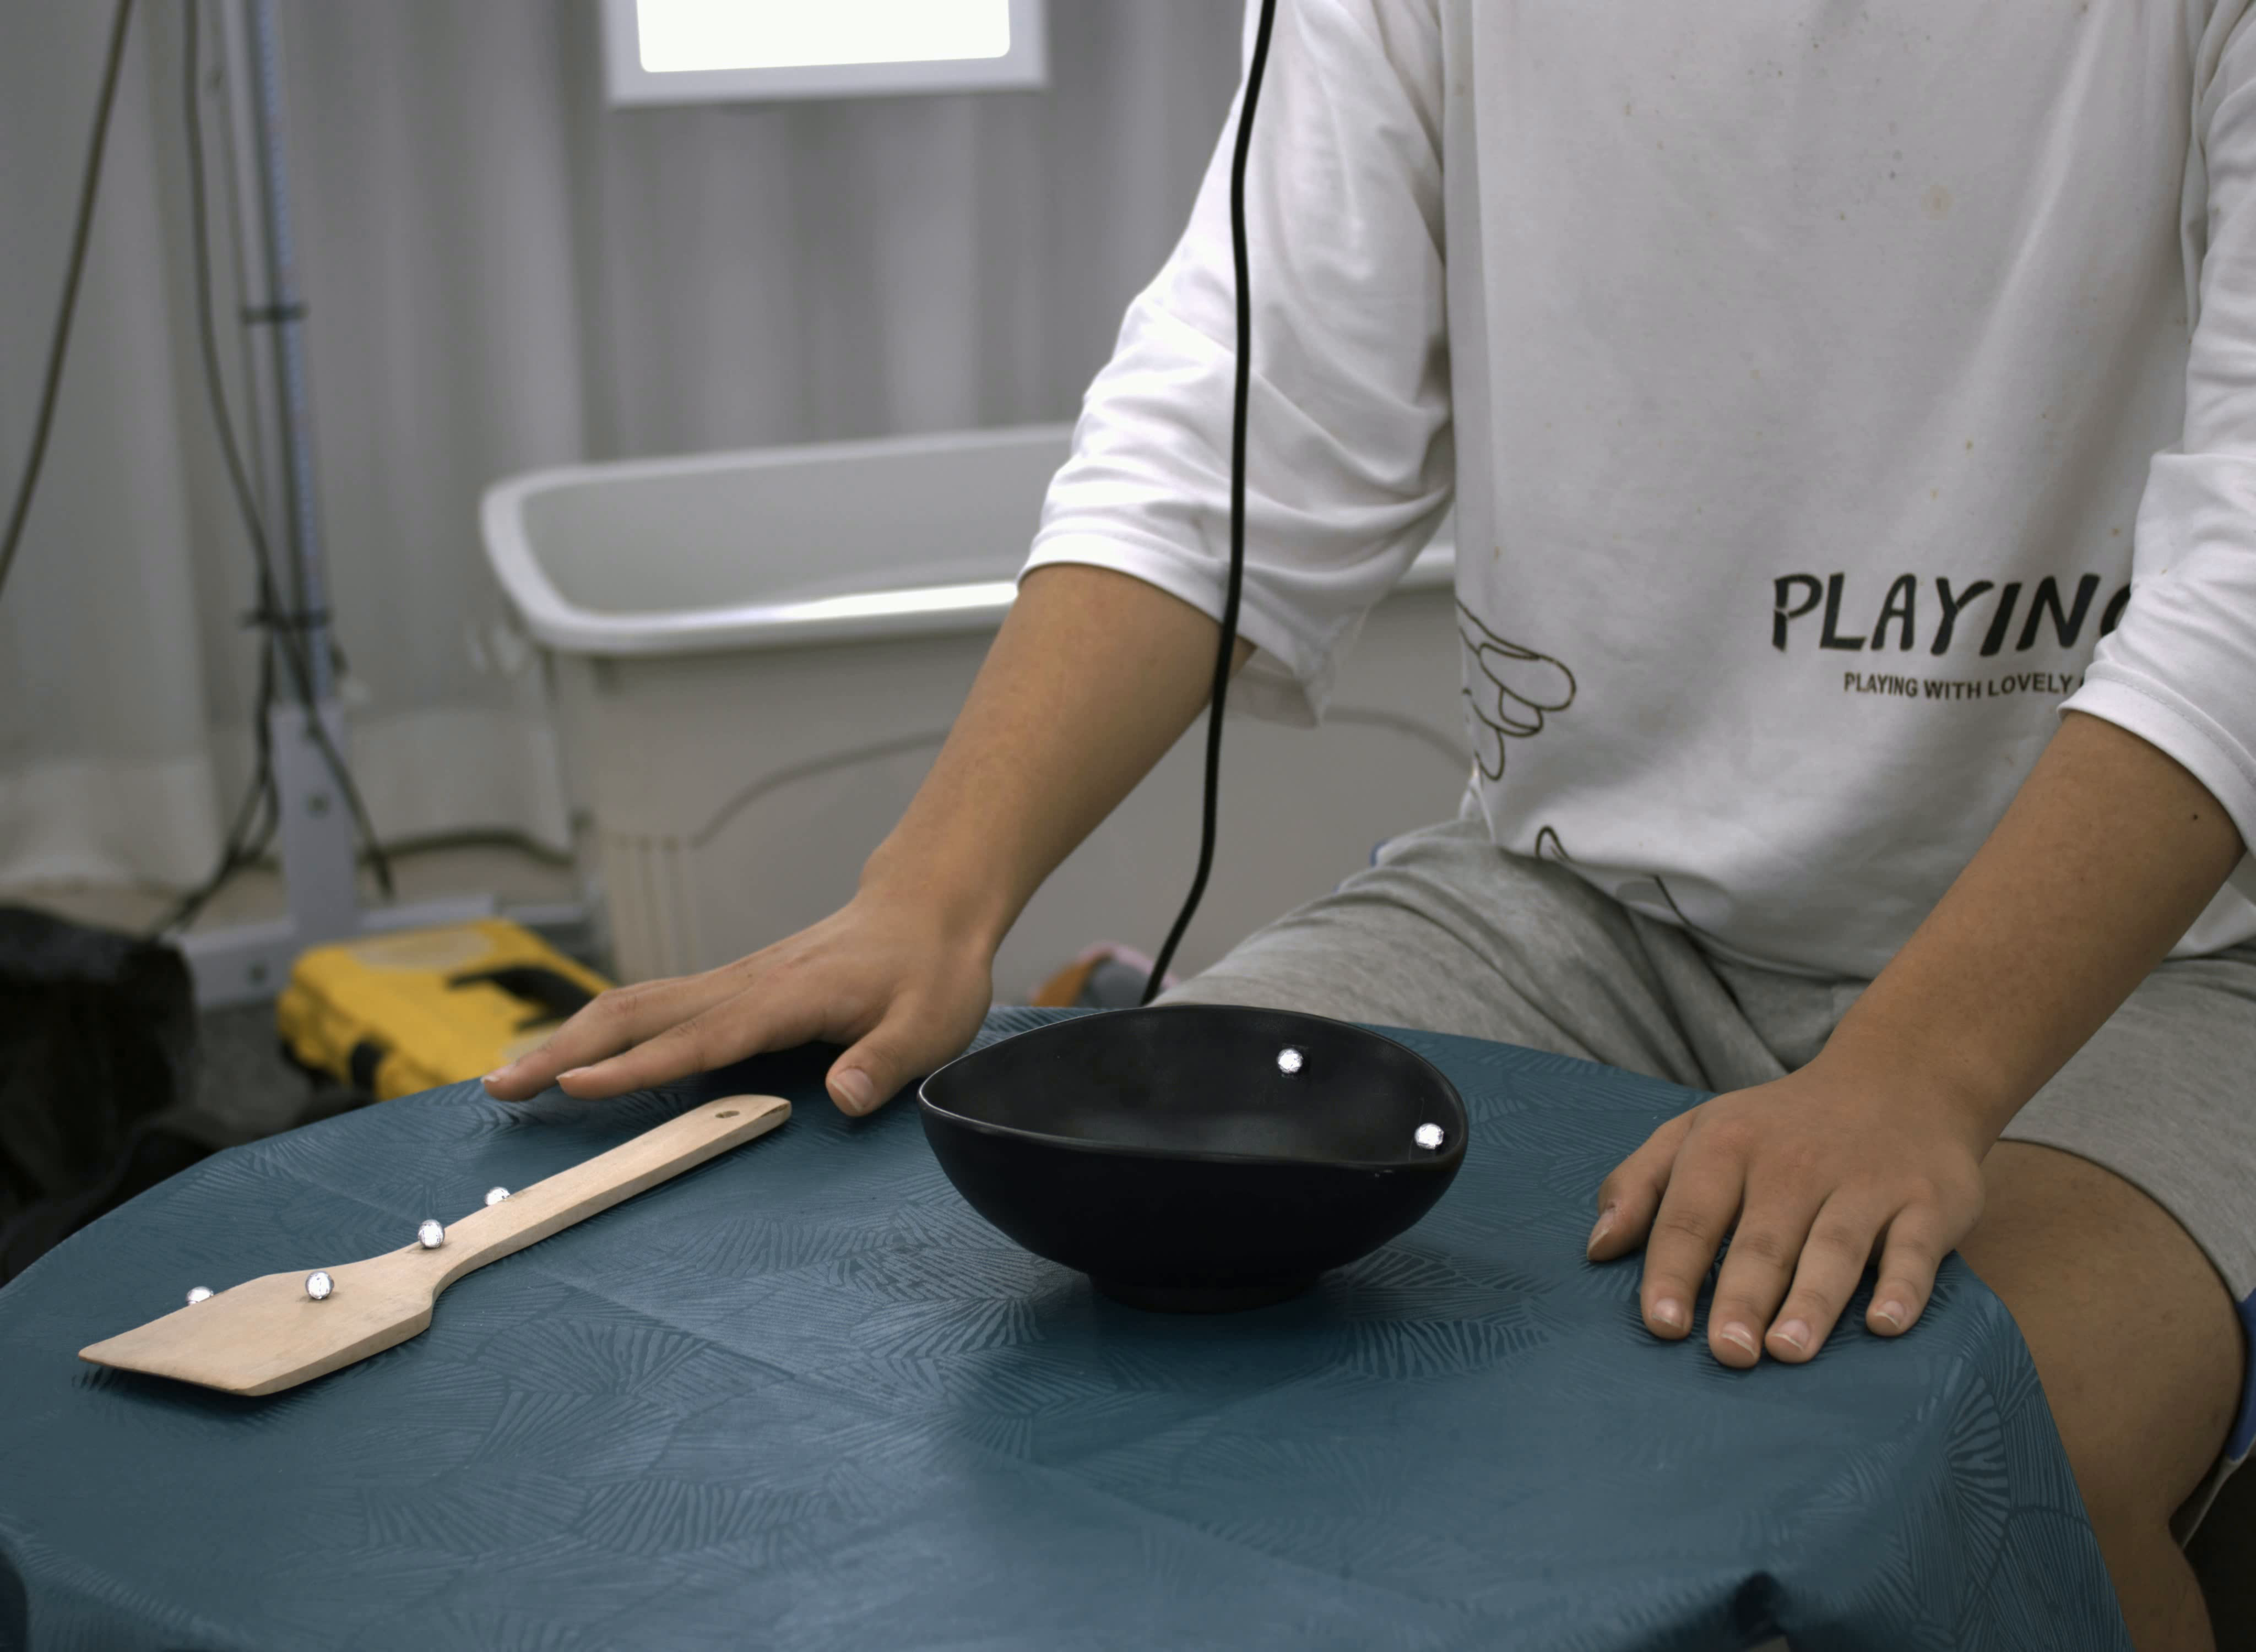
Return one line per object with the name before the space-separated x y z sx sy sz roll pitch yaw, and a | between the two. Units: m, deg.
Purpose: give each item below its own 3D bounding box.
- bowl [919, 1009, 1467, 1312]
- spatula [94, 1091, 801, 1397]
bowl | 0.020 0.104 1.632 0.170 0.066 0.137 5 16 21
spatula | -0.196 0.126 1.692 0.072 0.010 0.293 6 17 33
